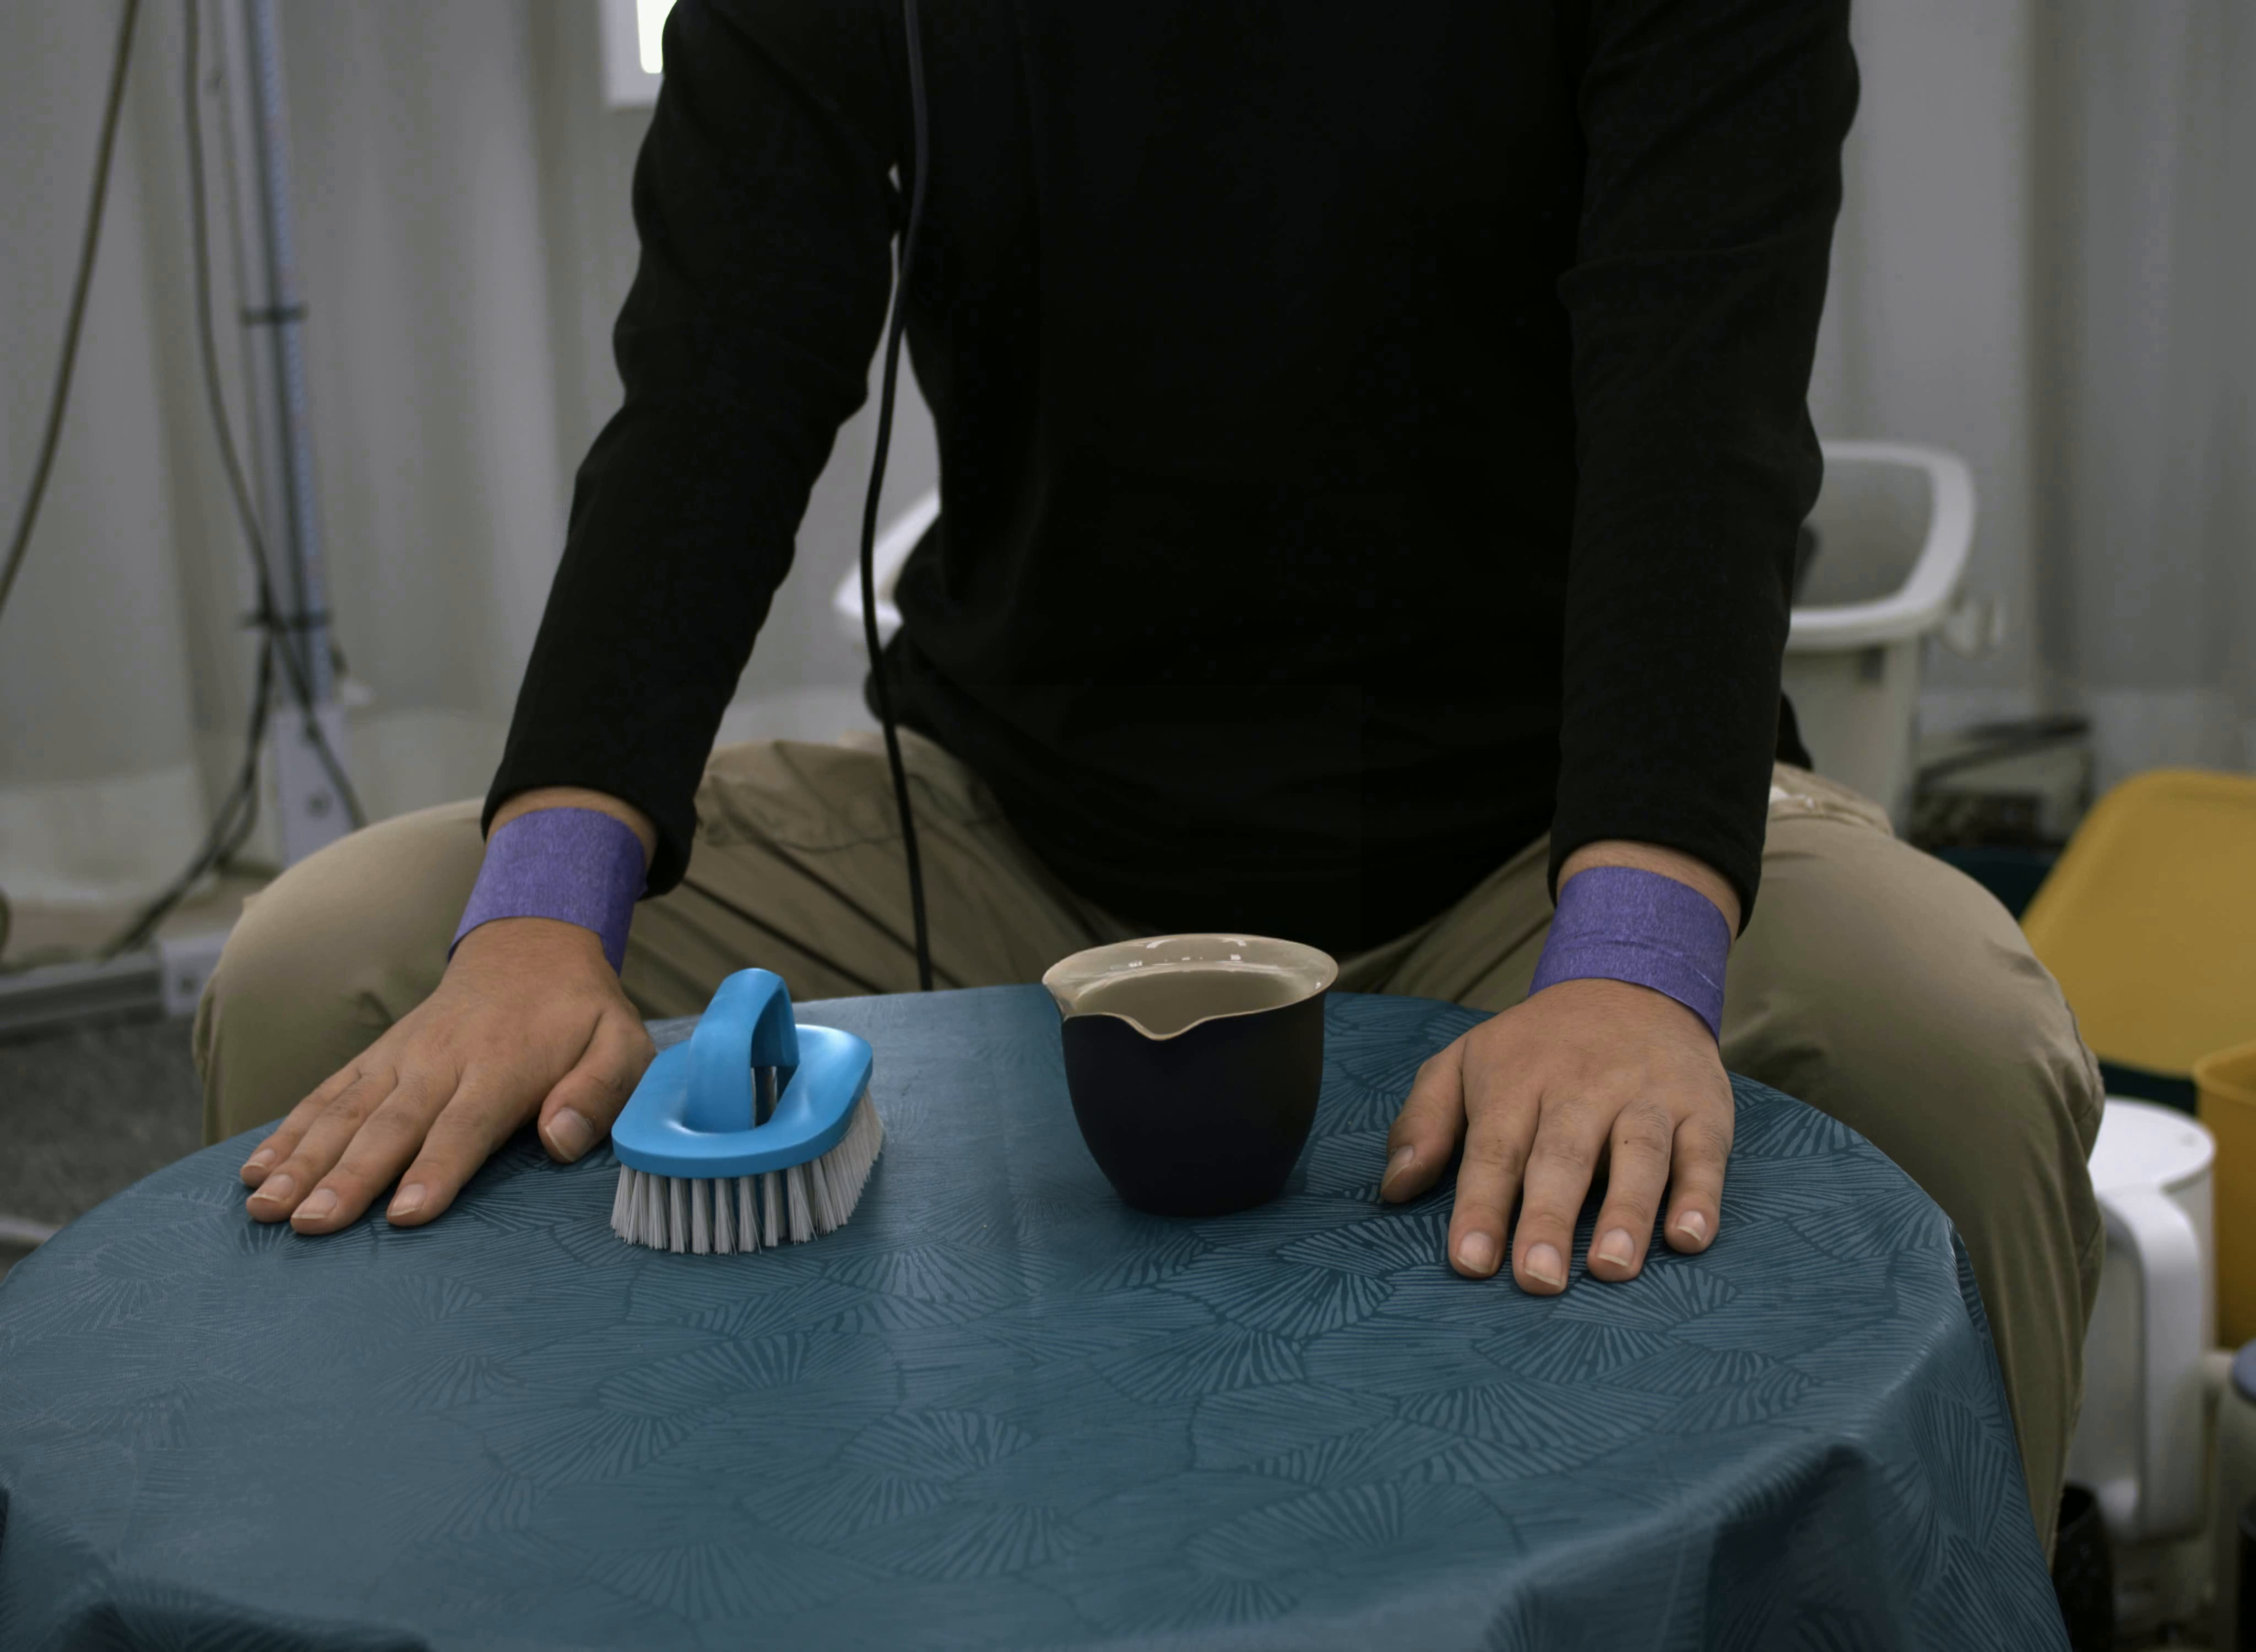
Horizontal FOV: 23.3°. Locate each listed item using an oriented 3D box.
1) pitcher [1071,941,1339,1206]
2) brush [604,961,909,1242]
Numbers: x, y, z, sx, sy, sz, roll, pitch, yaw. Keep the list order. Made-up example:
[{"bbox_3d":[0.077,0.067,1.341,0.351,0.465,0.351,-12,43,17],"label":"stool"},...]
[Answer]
[{"bbox_3d":[0.023,0.078,1.701,0.083,0.071,0.096,3,17,17],"label":"pitcher"},{"bbox_3d":[-0.119,0.081,1.736,0.084,0.063,0.142,-5,13,9],"label":"brush"}]
